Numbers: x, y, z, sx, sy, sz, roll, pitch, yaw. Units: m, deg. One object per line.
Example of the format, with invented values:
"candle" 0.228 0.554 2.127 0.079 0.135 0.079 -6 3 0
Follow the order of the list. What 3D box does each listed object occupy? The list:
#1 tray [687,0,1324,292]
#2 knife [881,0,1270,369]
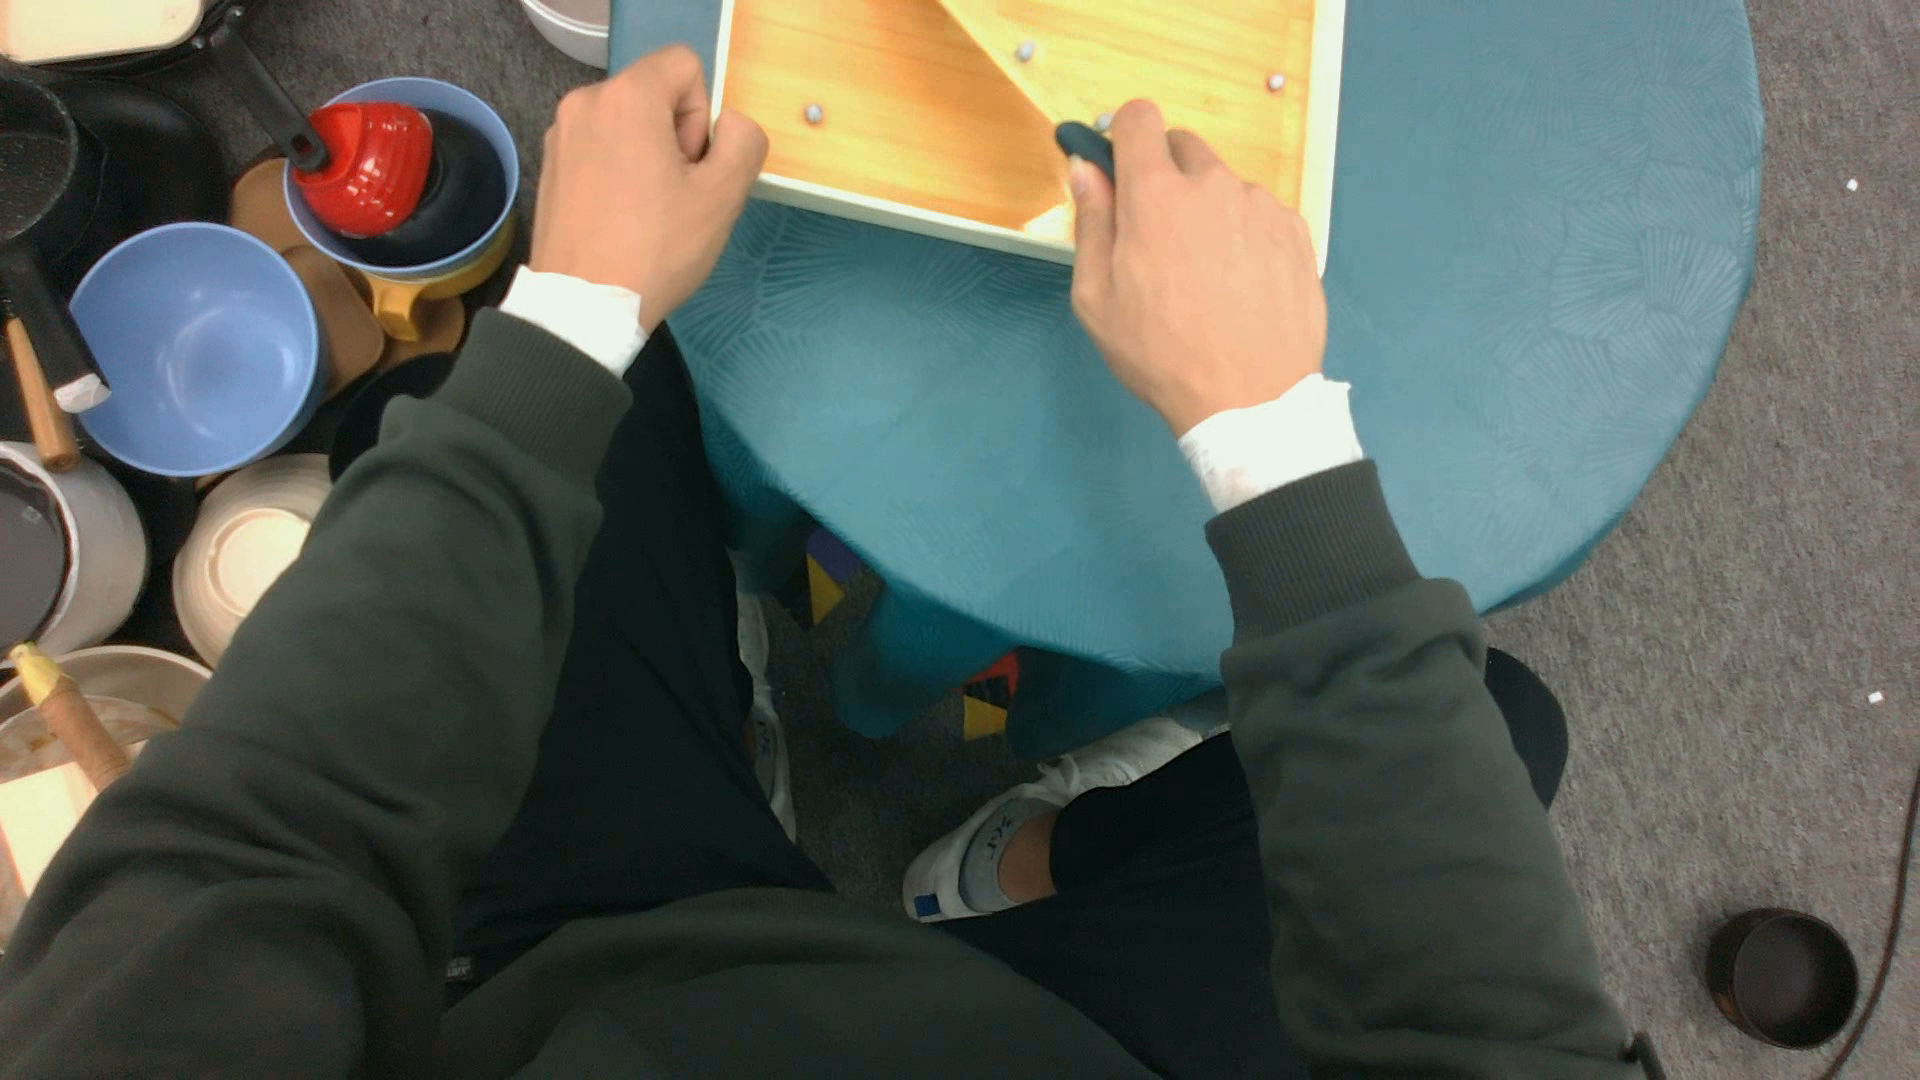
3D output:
"tray" 0.032 -0.234 0.648 0.300 0.027 0.192 8 82 -18
"knife" 0.028 -0.181 0.591 0.289 0.081 0.027 47 115 7
